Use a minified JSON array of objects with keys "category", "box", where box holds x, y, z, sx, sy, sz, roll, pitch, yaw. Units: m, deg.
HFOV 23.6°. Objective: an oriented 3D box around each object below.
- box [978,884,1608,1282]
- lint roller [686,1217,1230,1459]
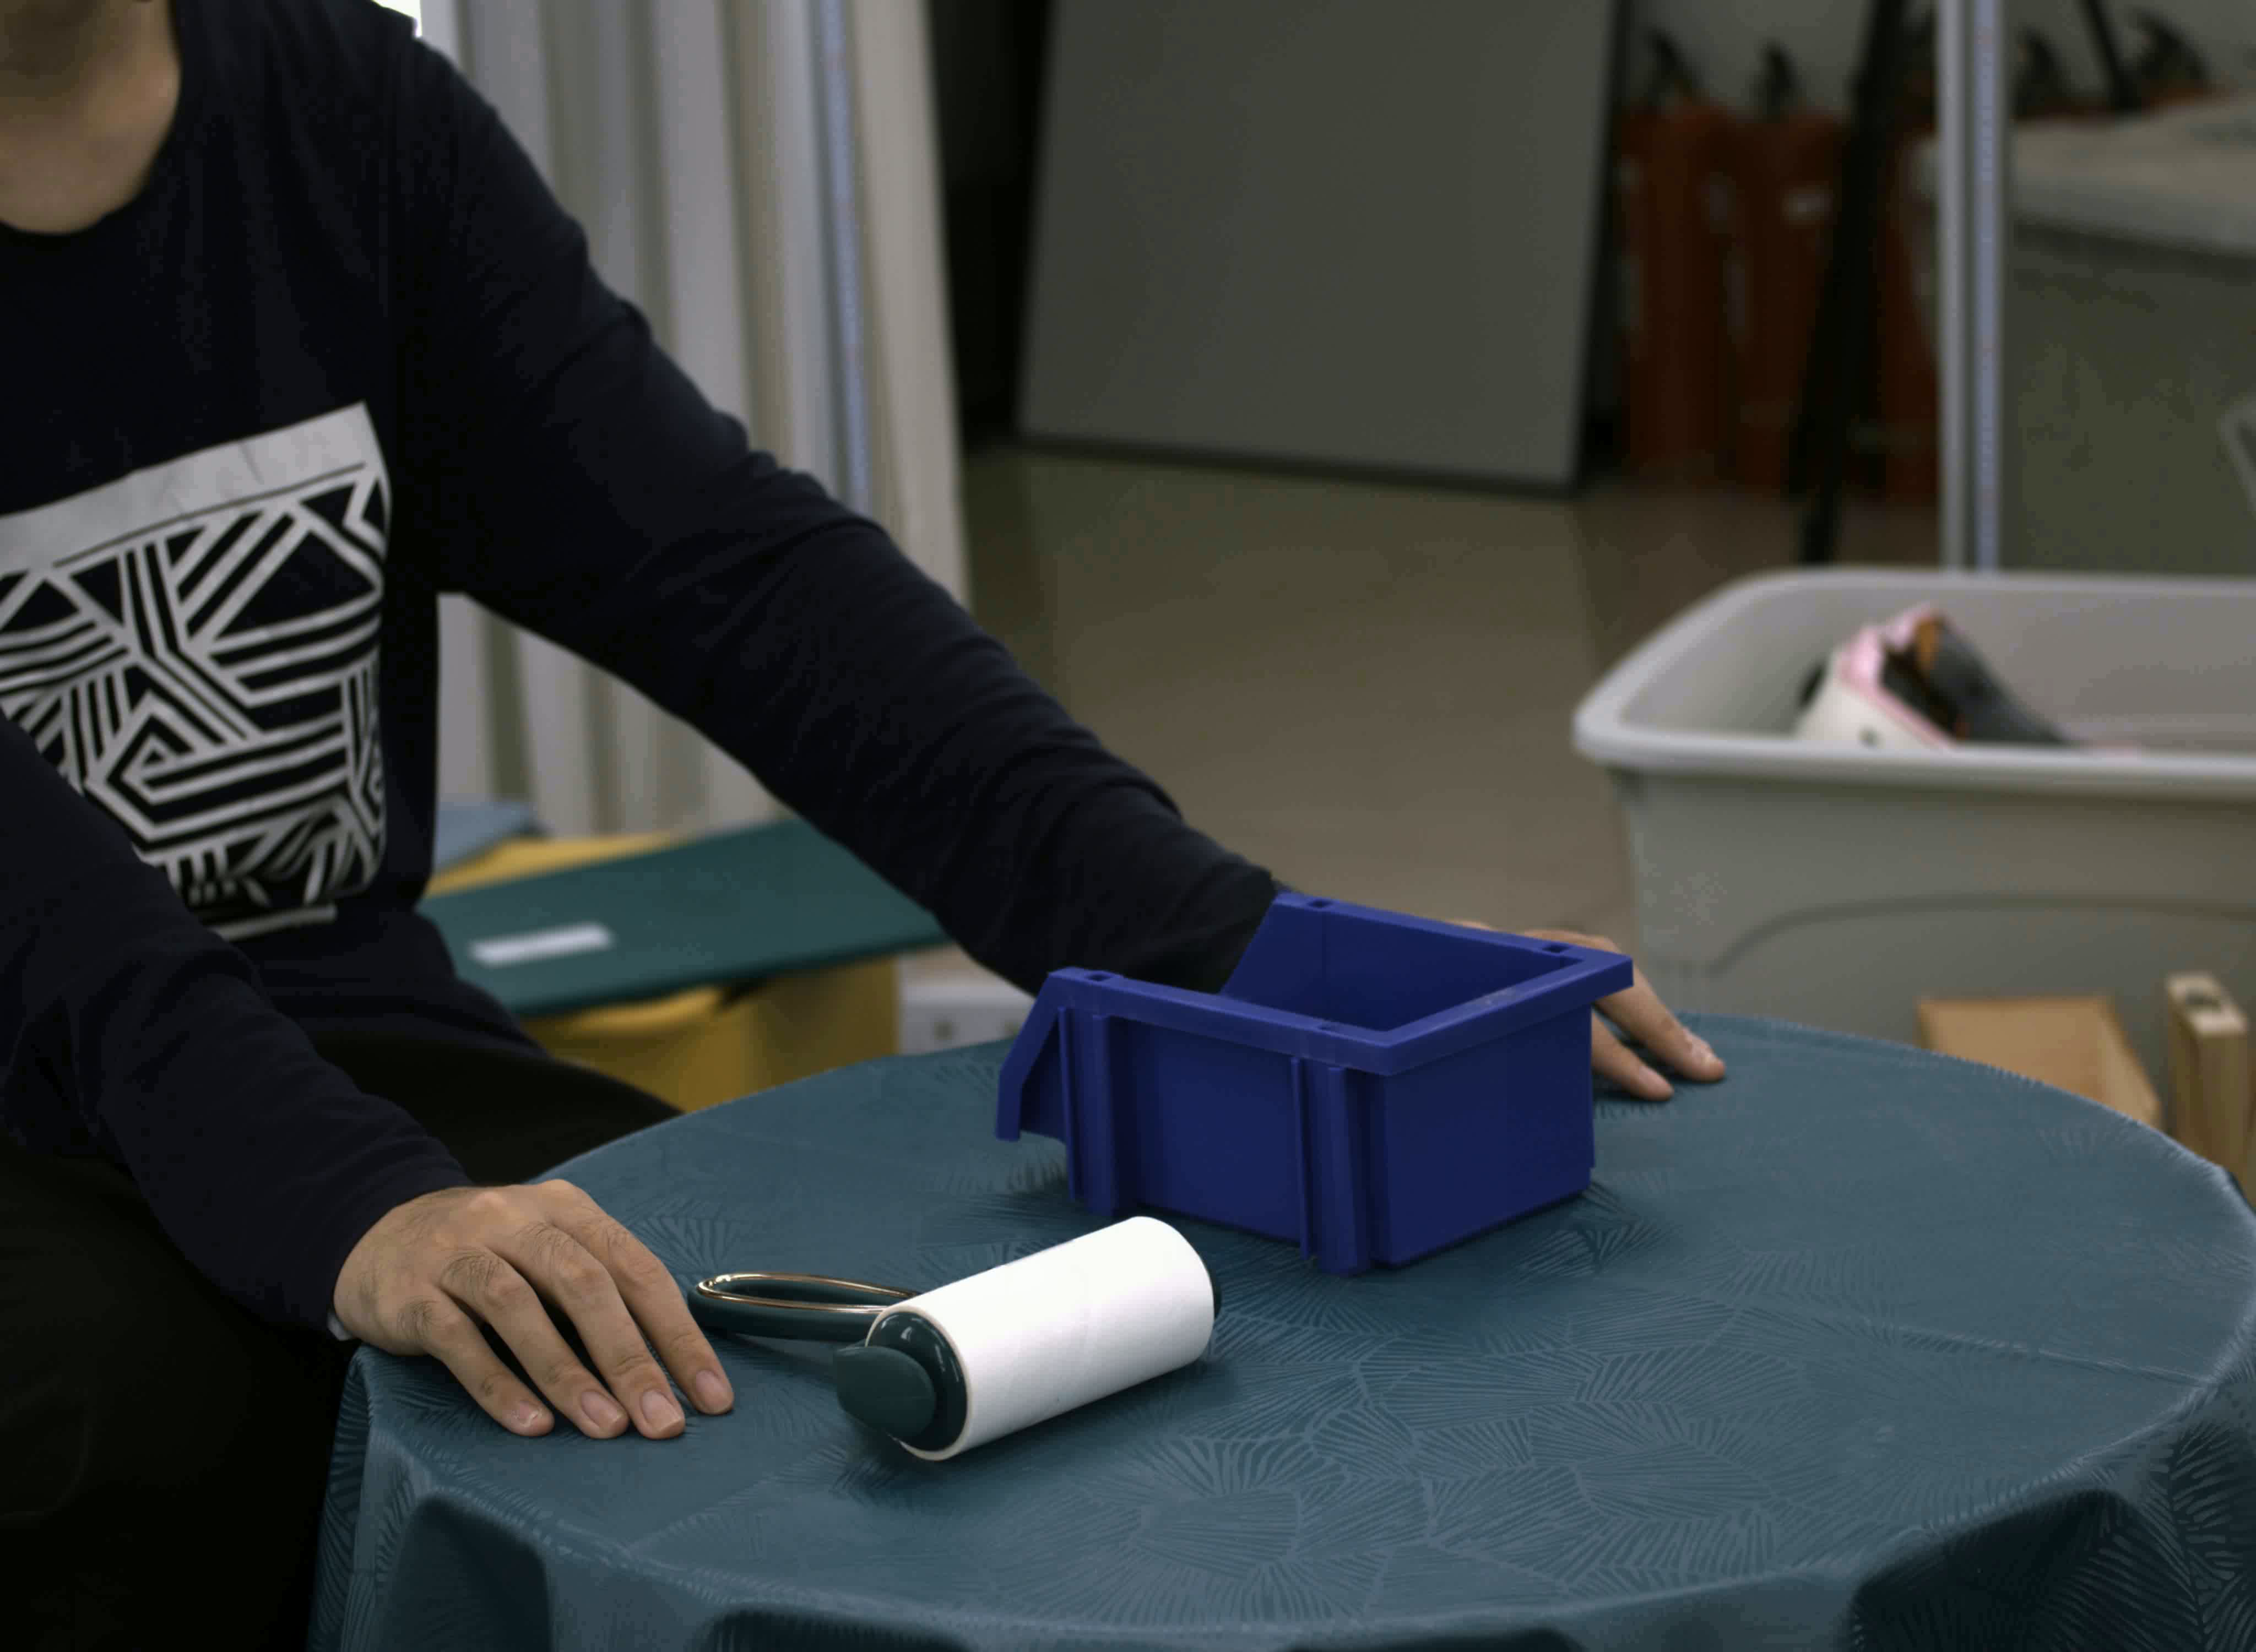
[{"category":"box","box":[0.051,0.080,1.757,0.122,0.083,0.181,-17,21,-40]},{"category":"lint roller","box":[-0.072,0.144,1.617,0.131,0.049,0.182,-15,14,-42]}]
